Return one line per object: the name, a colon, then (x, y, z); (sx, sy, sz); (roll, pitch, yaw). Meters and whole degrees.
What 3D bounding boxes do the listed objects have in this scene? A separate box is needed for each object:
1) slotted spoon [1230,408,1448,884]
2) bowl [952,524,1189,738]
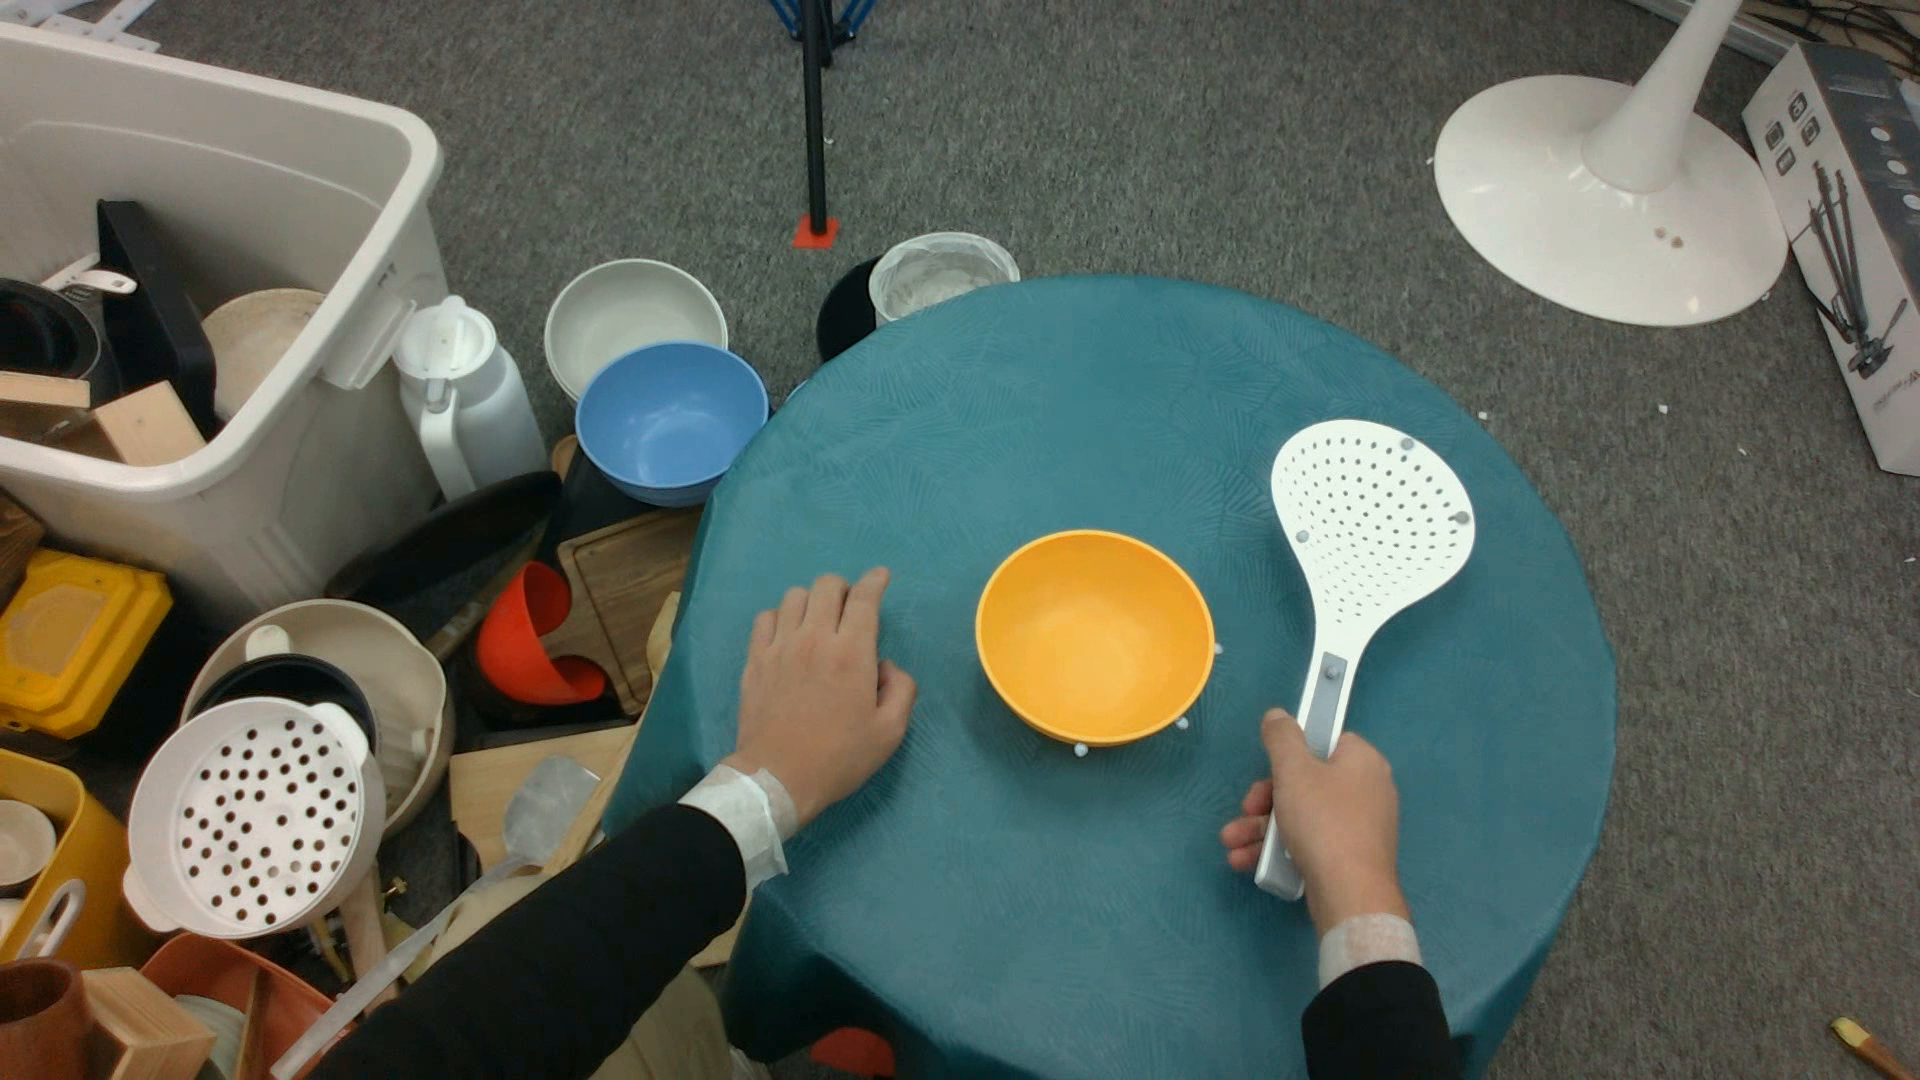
slotted spoon: (0.221, 0.053, 0.855); (0.136, 0.045, 0.351); (23, 51, 2)
bowl: (0.065, 0.065, 0.847); (0.145, 0.060, 0.146); (2, 55, -3)
